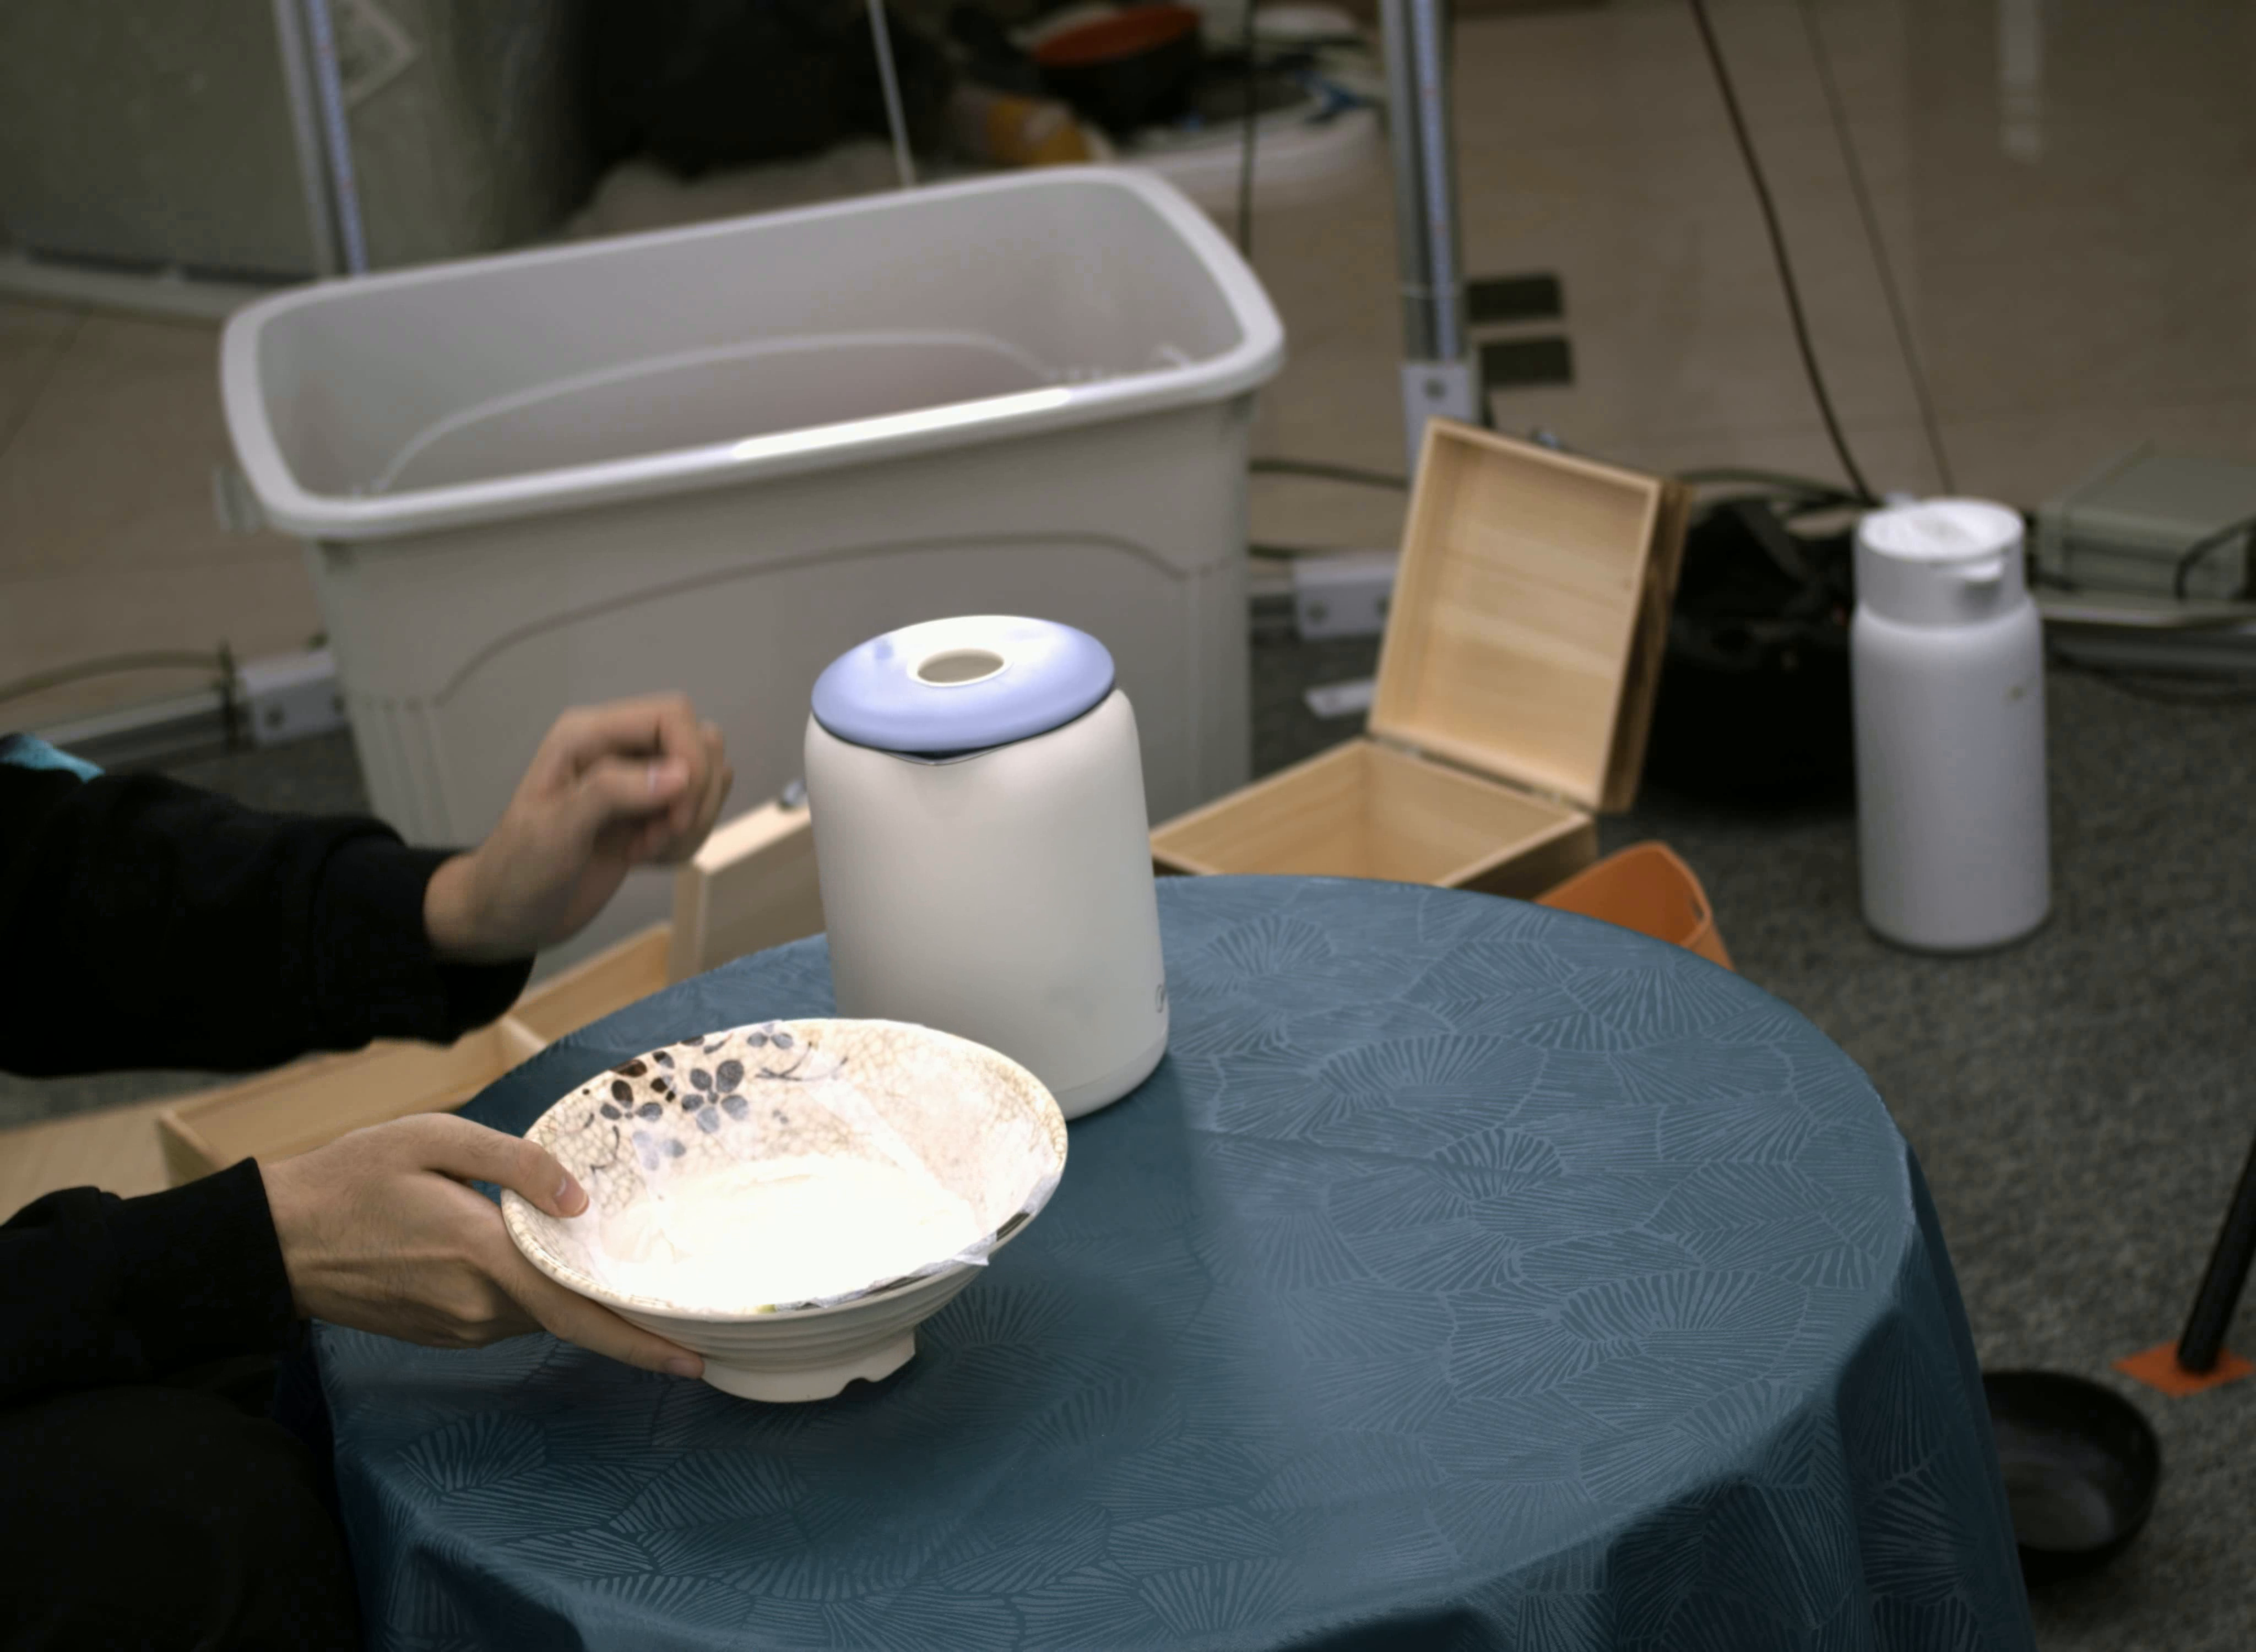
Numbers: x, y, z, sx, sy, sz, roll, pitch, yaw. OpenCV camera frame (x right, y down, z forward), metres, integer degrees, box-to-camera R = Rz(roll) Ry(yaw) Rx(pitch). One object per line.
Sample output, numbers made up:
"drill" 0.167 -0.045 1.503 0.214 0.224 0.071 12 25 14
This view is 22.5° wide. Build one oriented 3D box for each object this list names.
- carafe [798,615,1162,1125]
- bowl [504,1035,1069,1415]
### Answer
"carafe" -0.056 0.009 2.232 0.132 0.185 0.188 -2 23 6
"bowl" -0.117 0.155 2.034 0.204 0.079 0.201 -7 26 4
